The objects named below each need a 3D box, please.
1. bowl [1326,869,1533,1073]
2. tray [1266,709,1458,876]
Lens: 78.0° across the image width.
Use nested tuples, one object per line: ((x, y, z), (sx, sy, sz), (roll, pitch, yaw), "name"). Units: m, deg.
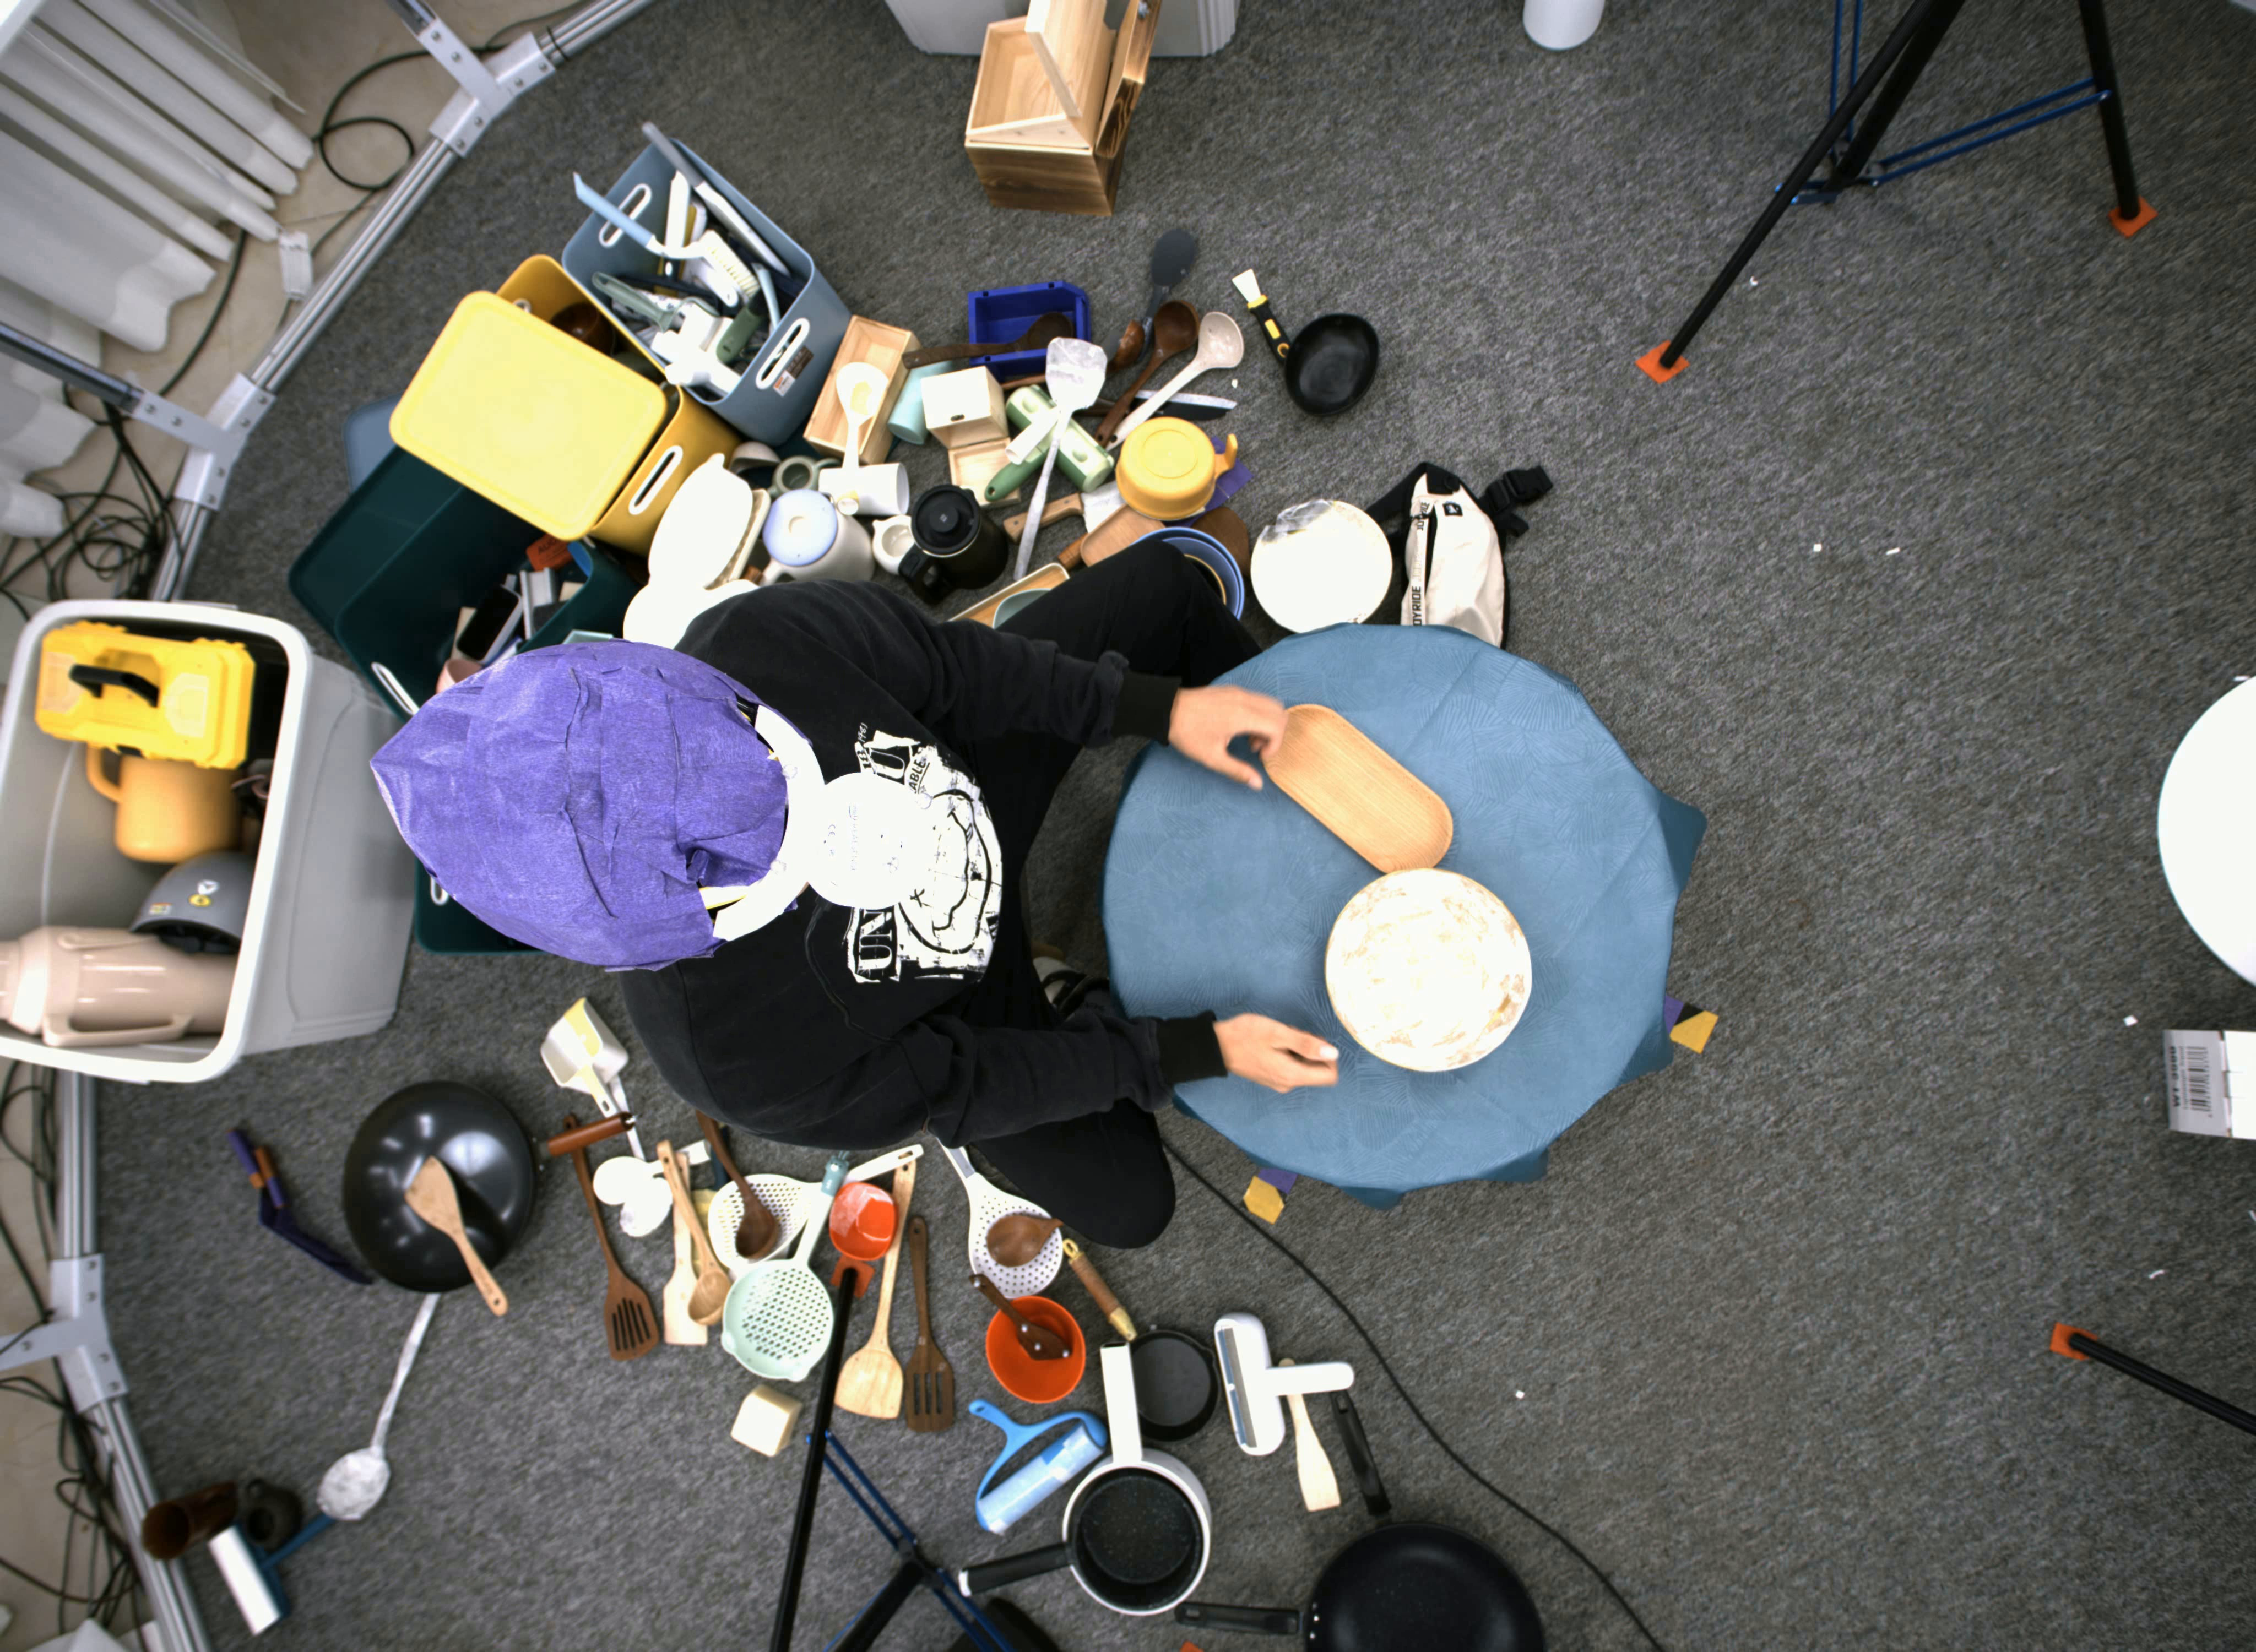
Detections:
((0.303, 0.142, 1.407), (0.215, 0.094, 0.214), (-1, 87, 11), "bowl")
((0.248, -0.035, 1.469), (0.230, 0.020, 0.102), (40, 96, 9), "tray")
